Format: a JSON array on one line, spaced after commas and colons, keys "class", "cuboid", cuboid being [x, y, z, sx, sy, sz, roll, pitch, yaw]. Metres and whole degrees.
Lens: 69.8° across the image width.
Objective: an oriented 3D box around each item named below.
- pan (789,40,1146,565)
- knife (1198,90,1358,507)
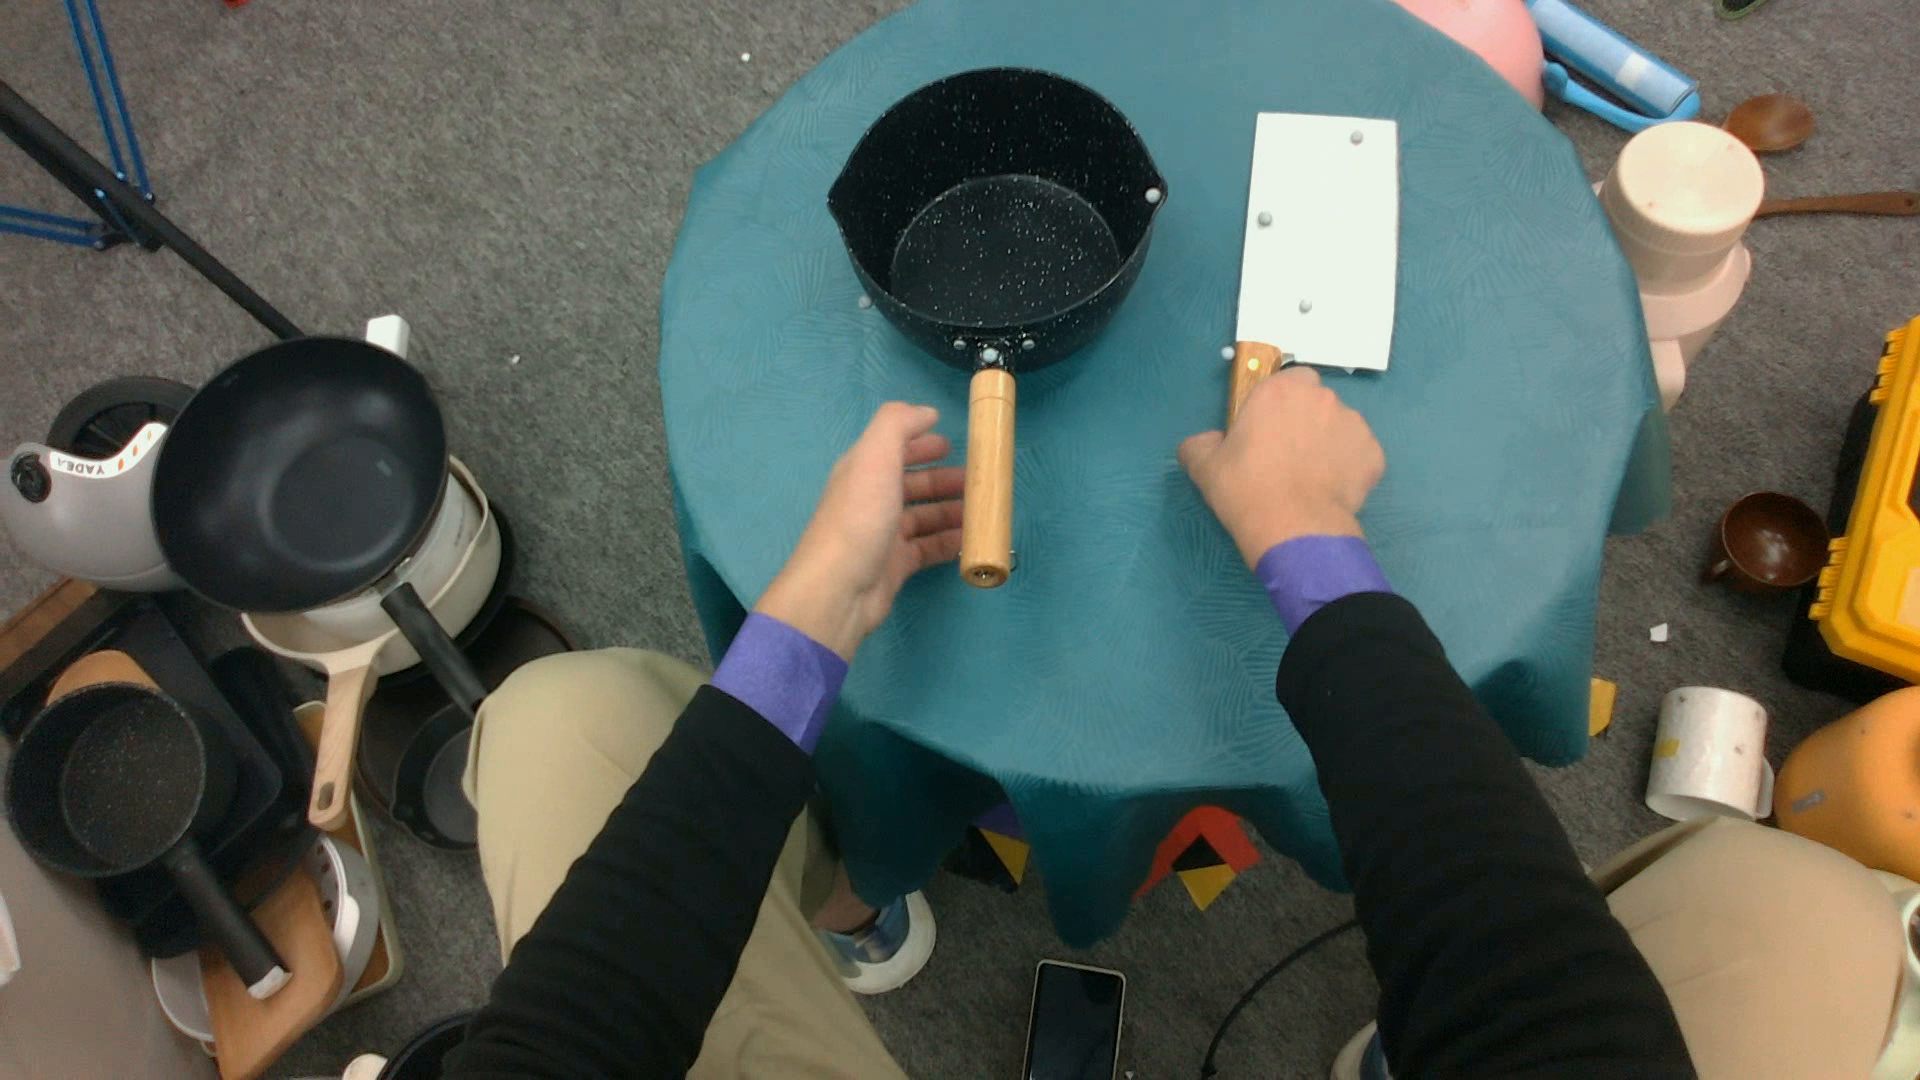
[{"class": "pan", "cuboid": [0.006, -0.131, 0.795, 0.207, 0.108, 0.344, -2, 67, 4]}, {"class": "knife", "cuboid": [0.194, -0.155, 0.837, 0.093, 0.021, 0.307, 6, 66, 6]}]
